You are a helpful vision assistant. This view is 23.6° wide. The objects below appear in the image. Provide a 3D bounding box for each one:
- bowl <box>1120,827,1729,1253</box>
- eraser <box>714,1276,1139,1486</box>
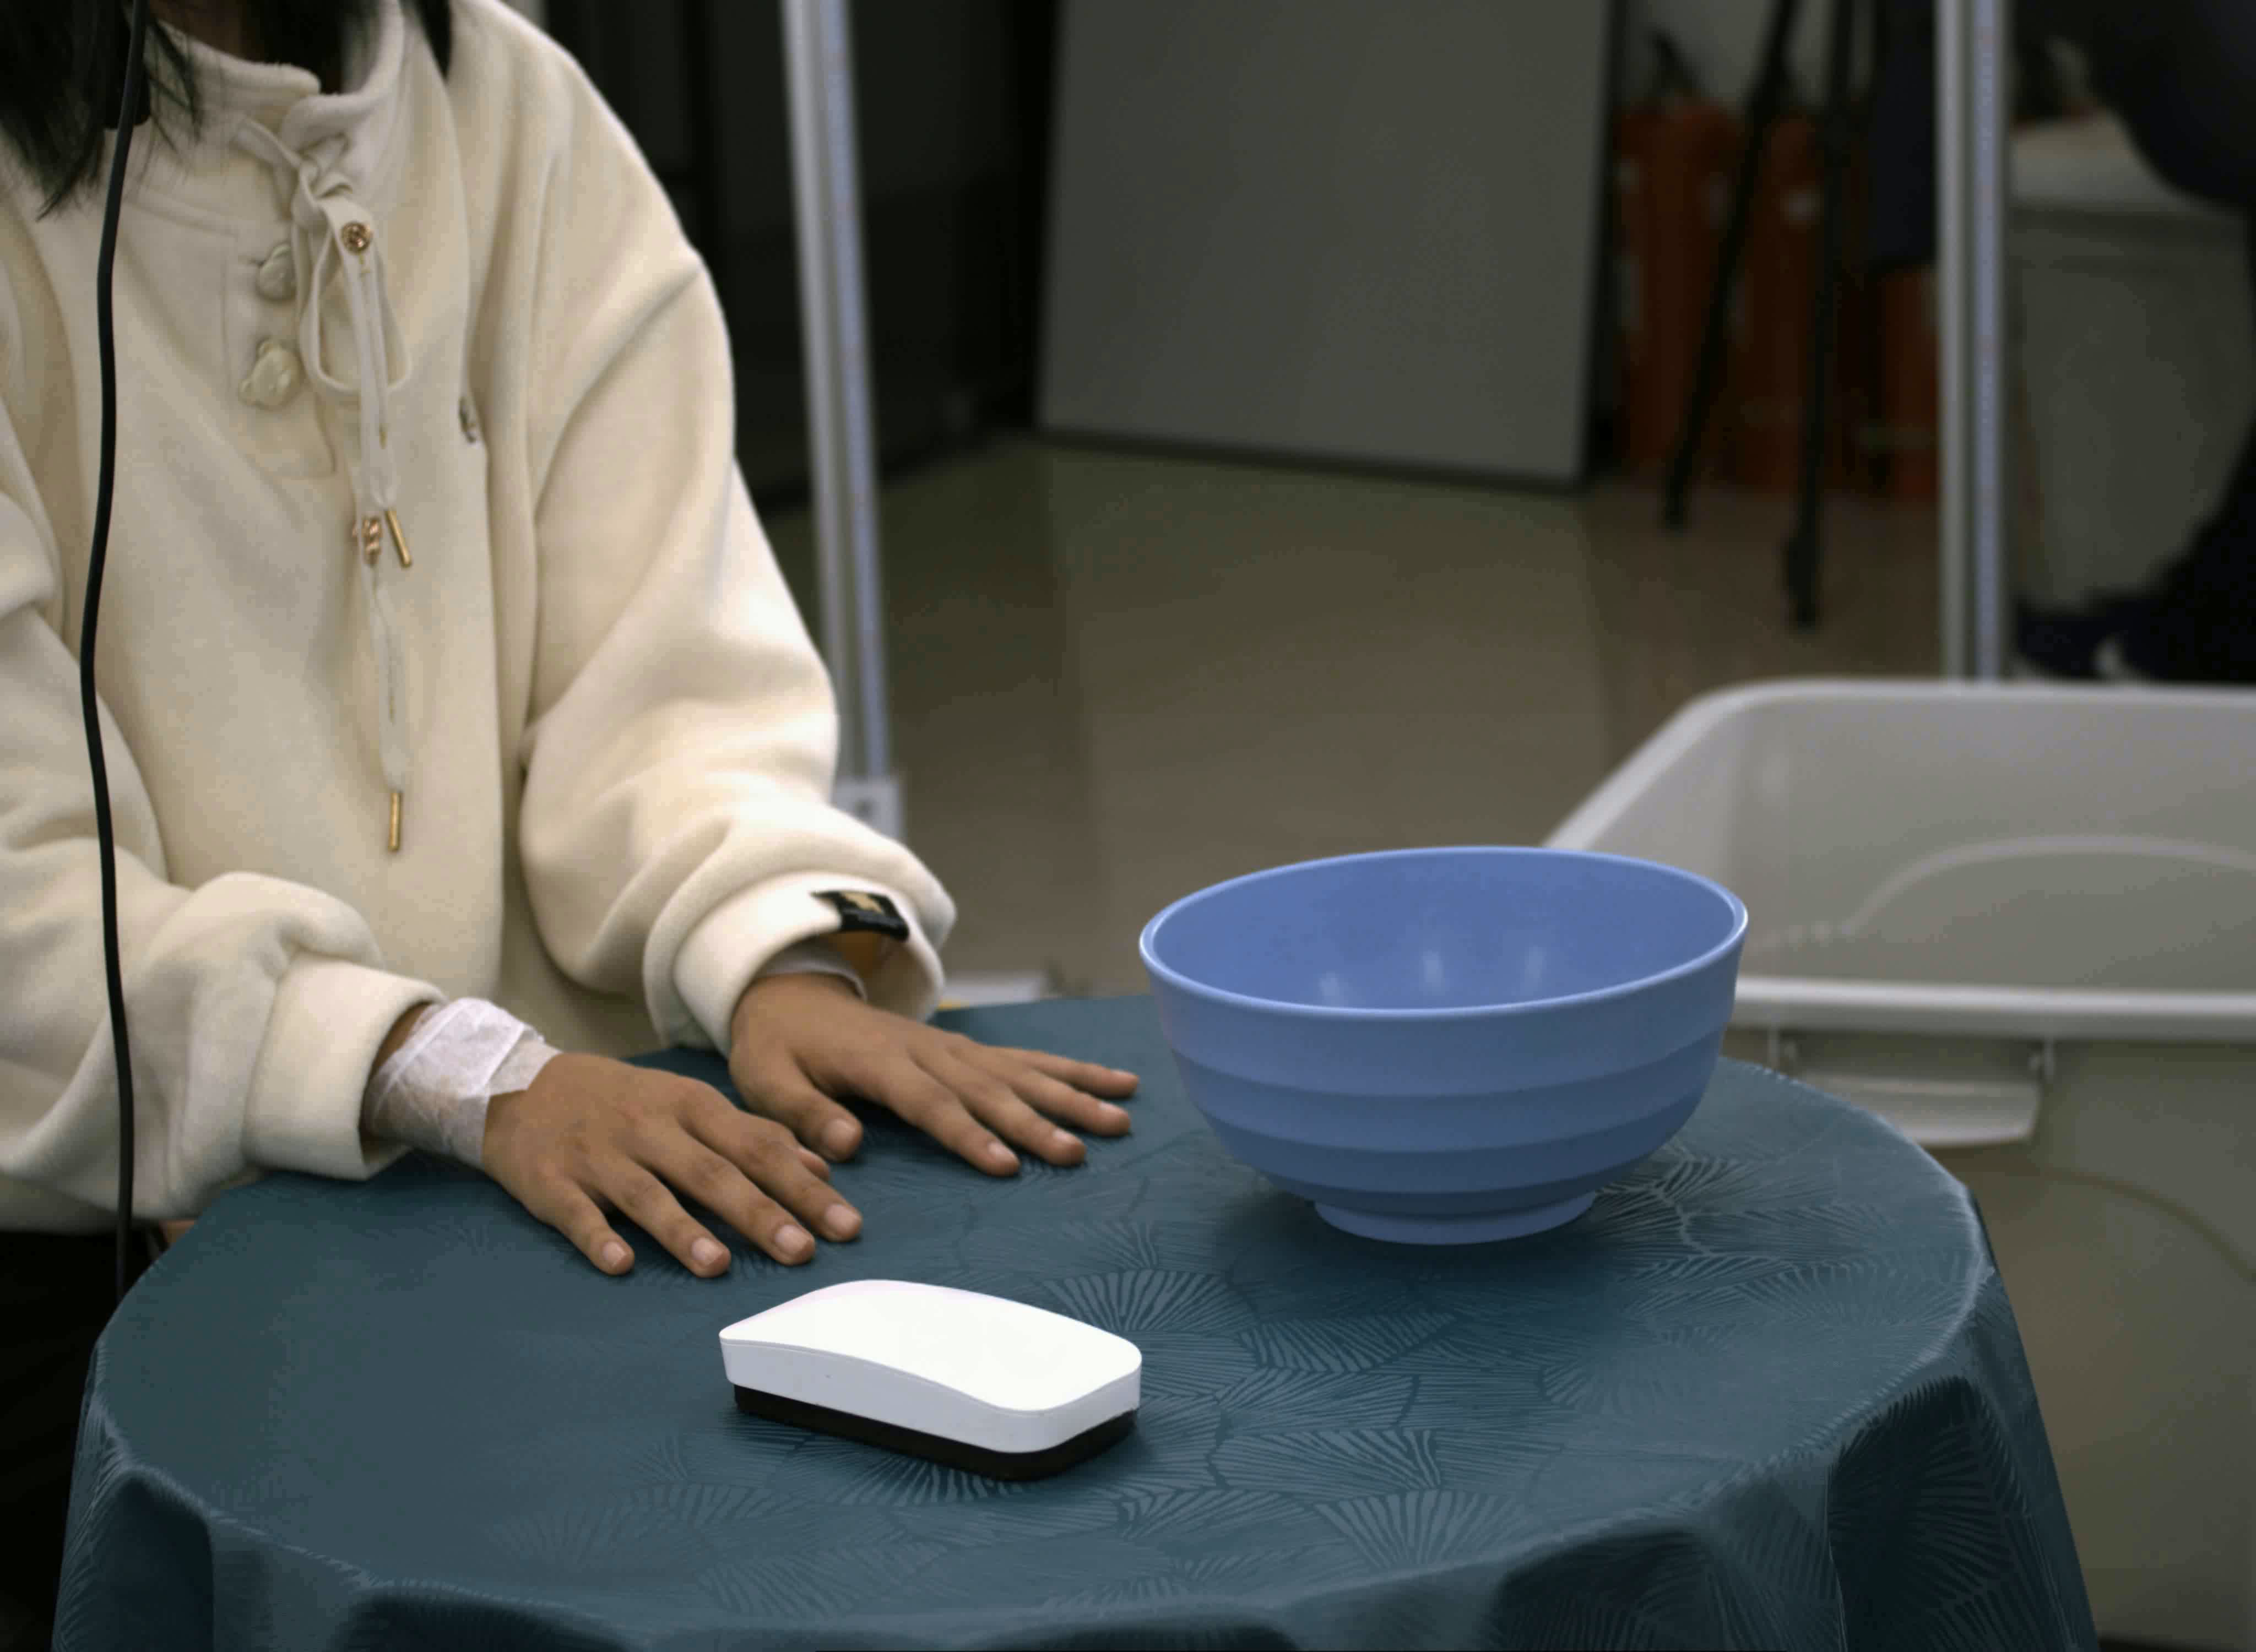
[{"bbox_3d":[0.096,0.075,1.731,0.194,0.096,0.197,-3,19,0],"label":"bowl"},{"bbox_3d":[-0.058,0.159,1.570,0.132,0.035,0.062,9,18,41],"label":"eraser"}]
